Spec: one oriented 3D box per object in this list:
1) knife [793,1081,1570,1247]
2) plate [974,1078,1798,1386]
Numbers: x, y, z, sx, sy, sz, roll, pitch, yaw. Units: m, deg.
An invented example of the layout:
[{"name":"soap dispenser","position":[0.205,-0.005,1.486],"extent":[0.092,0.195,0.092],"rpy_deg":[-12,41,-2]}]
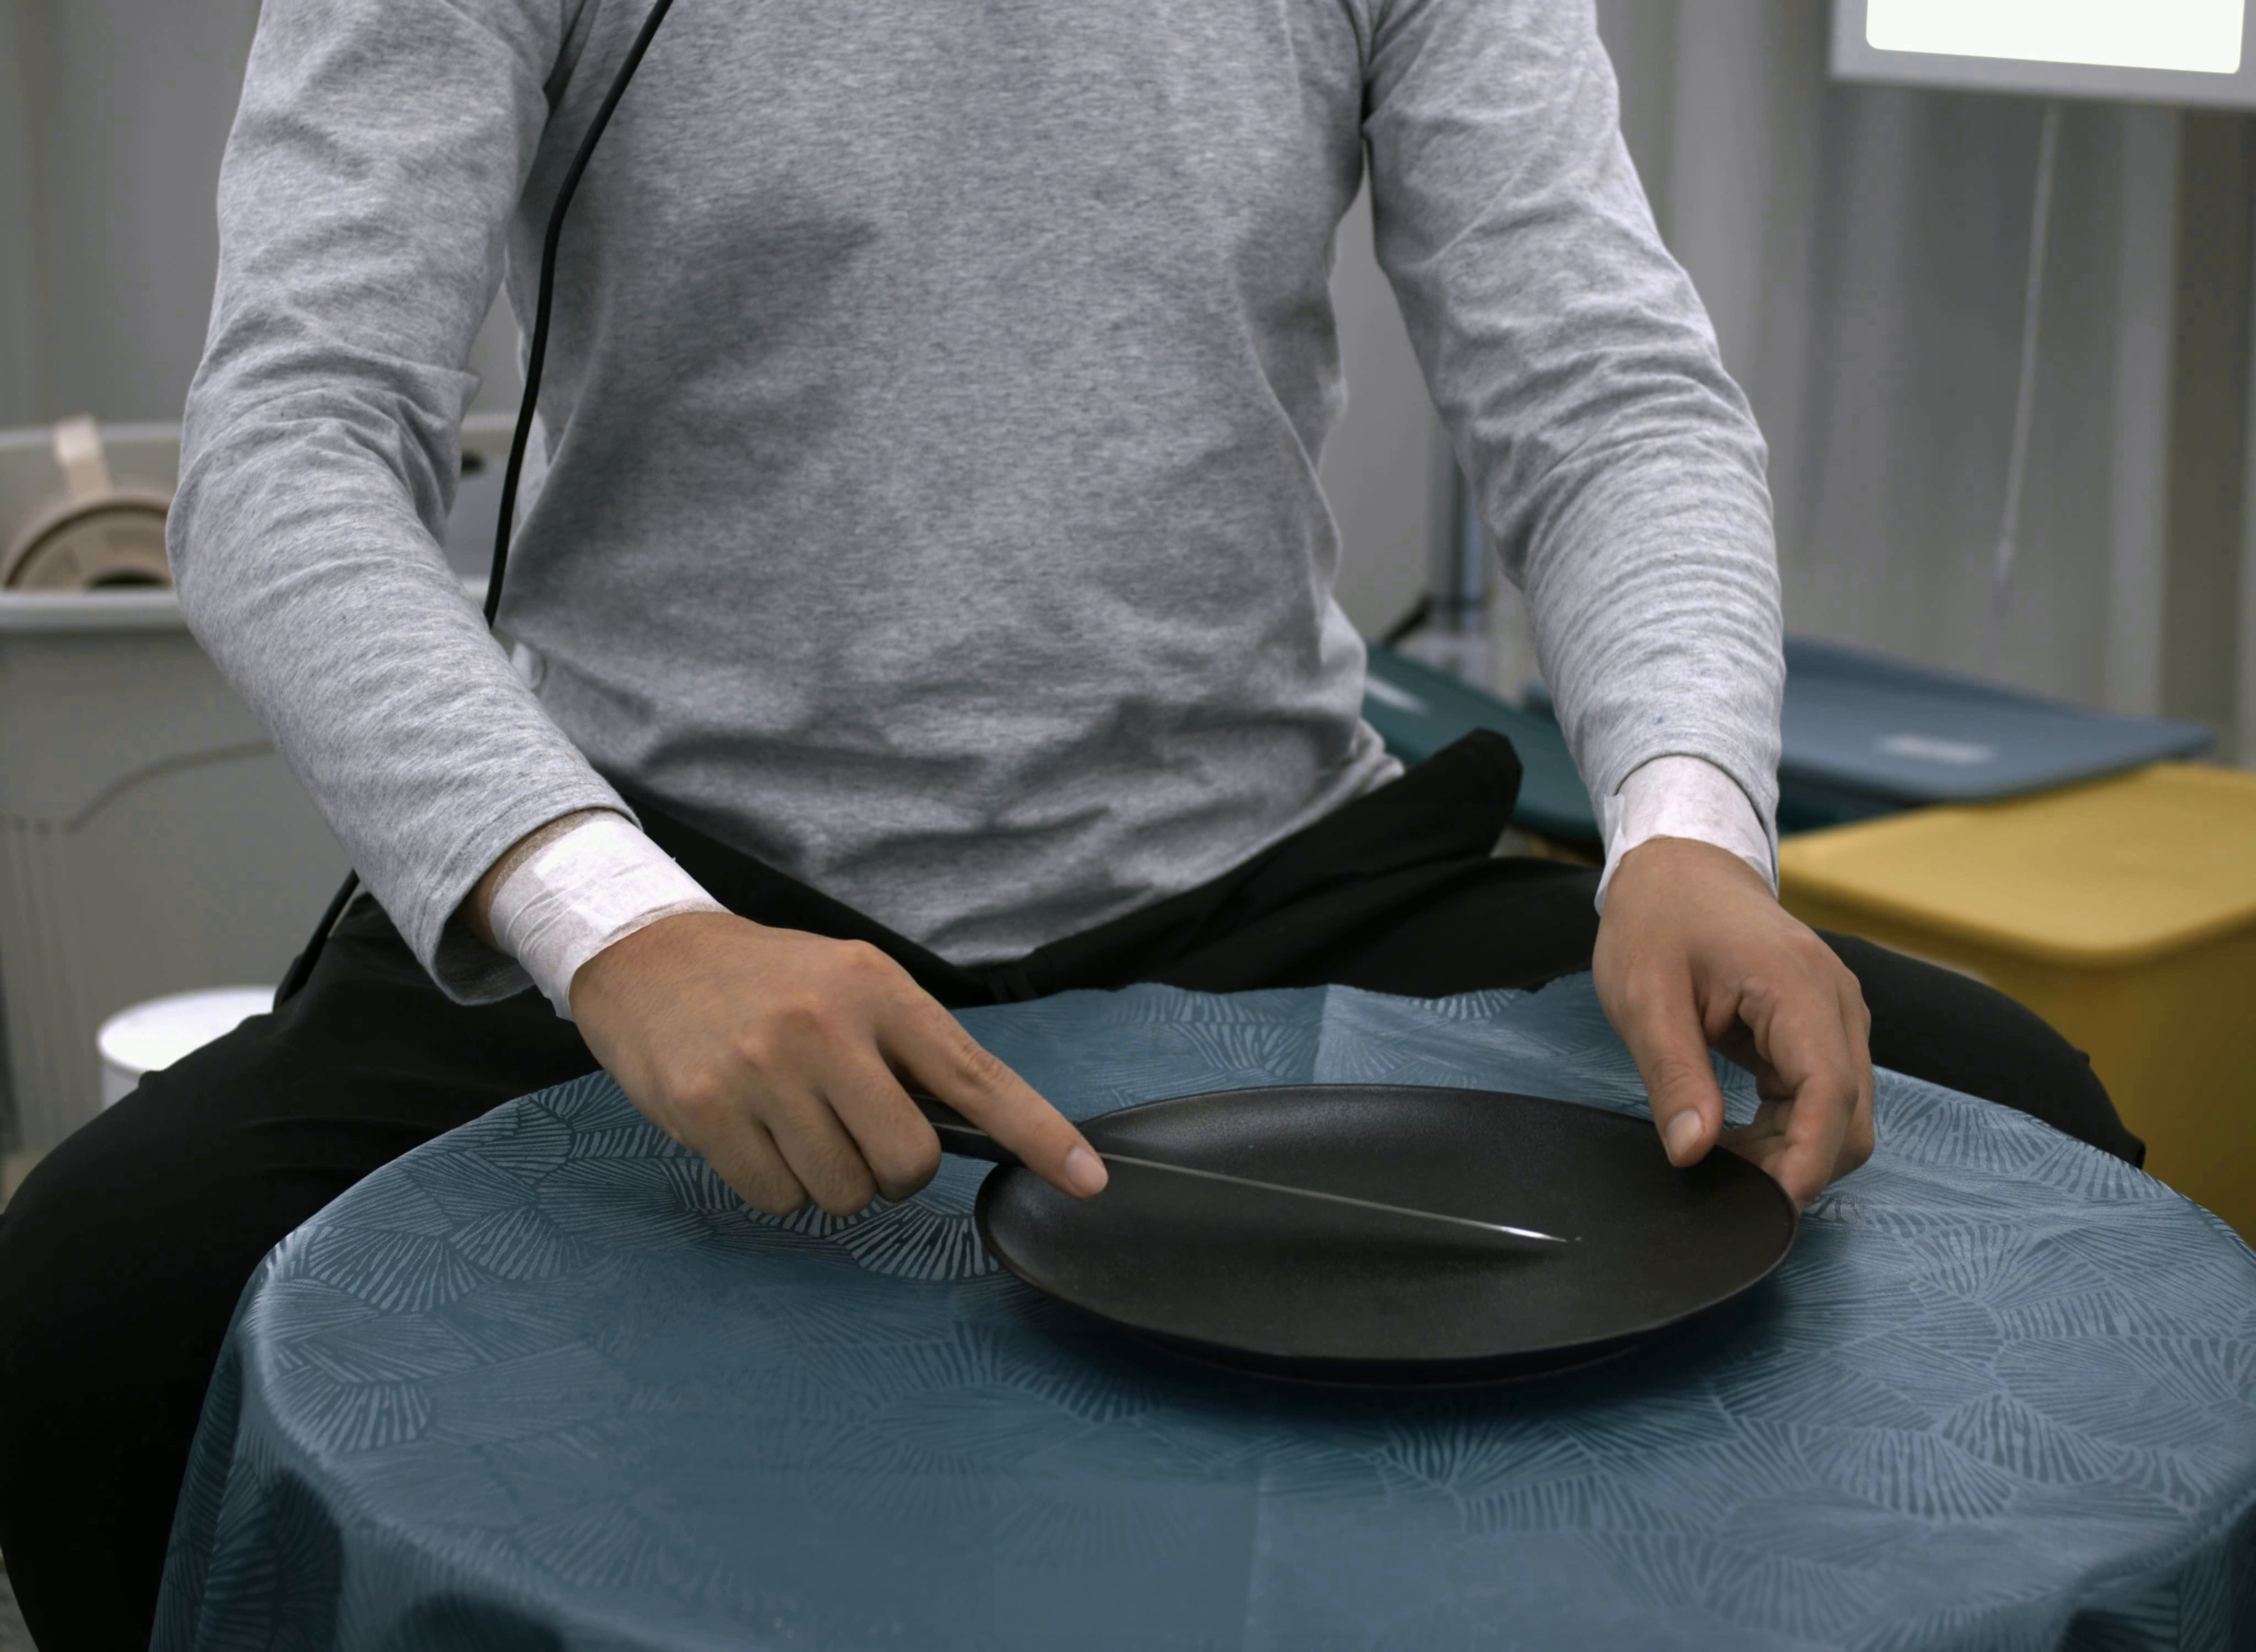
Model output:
[{"name":"knife","position":[0.014,0.103,1.565],"extent":[0.237,0.016,0.024],"rpy_deg":[10,-1,7]},{"name":"plate","position":[0.075,0.122,1.550],"extent":[0.243,0.023,0.243],"rpy_deg":[1,16,0]}]
